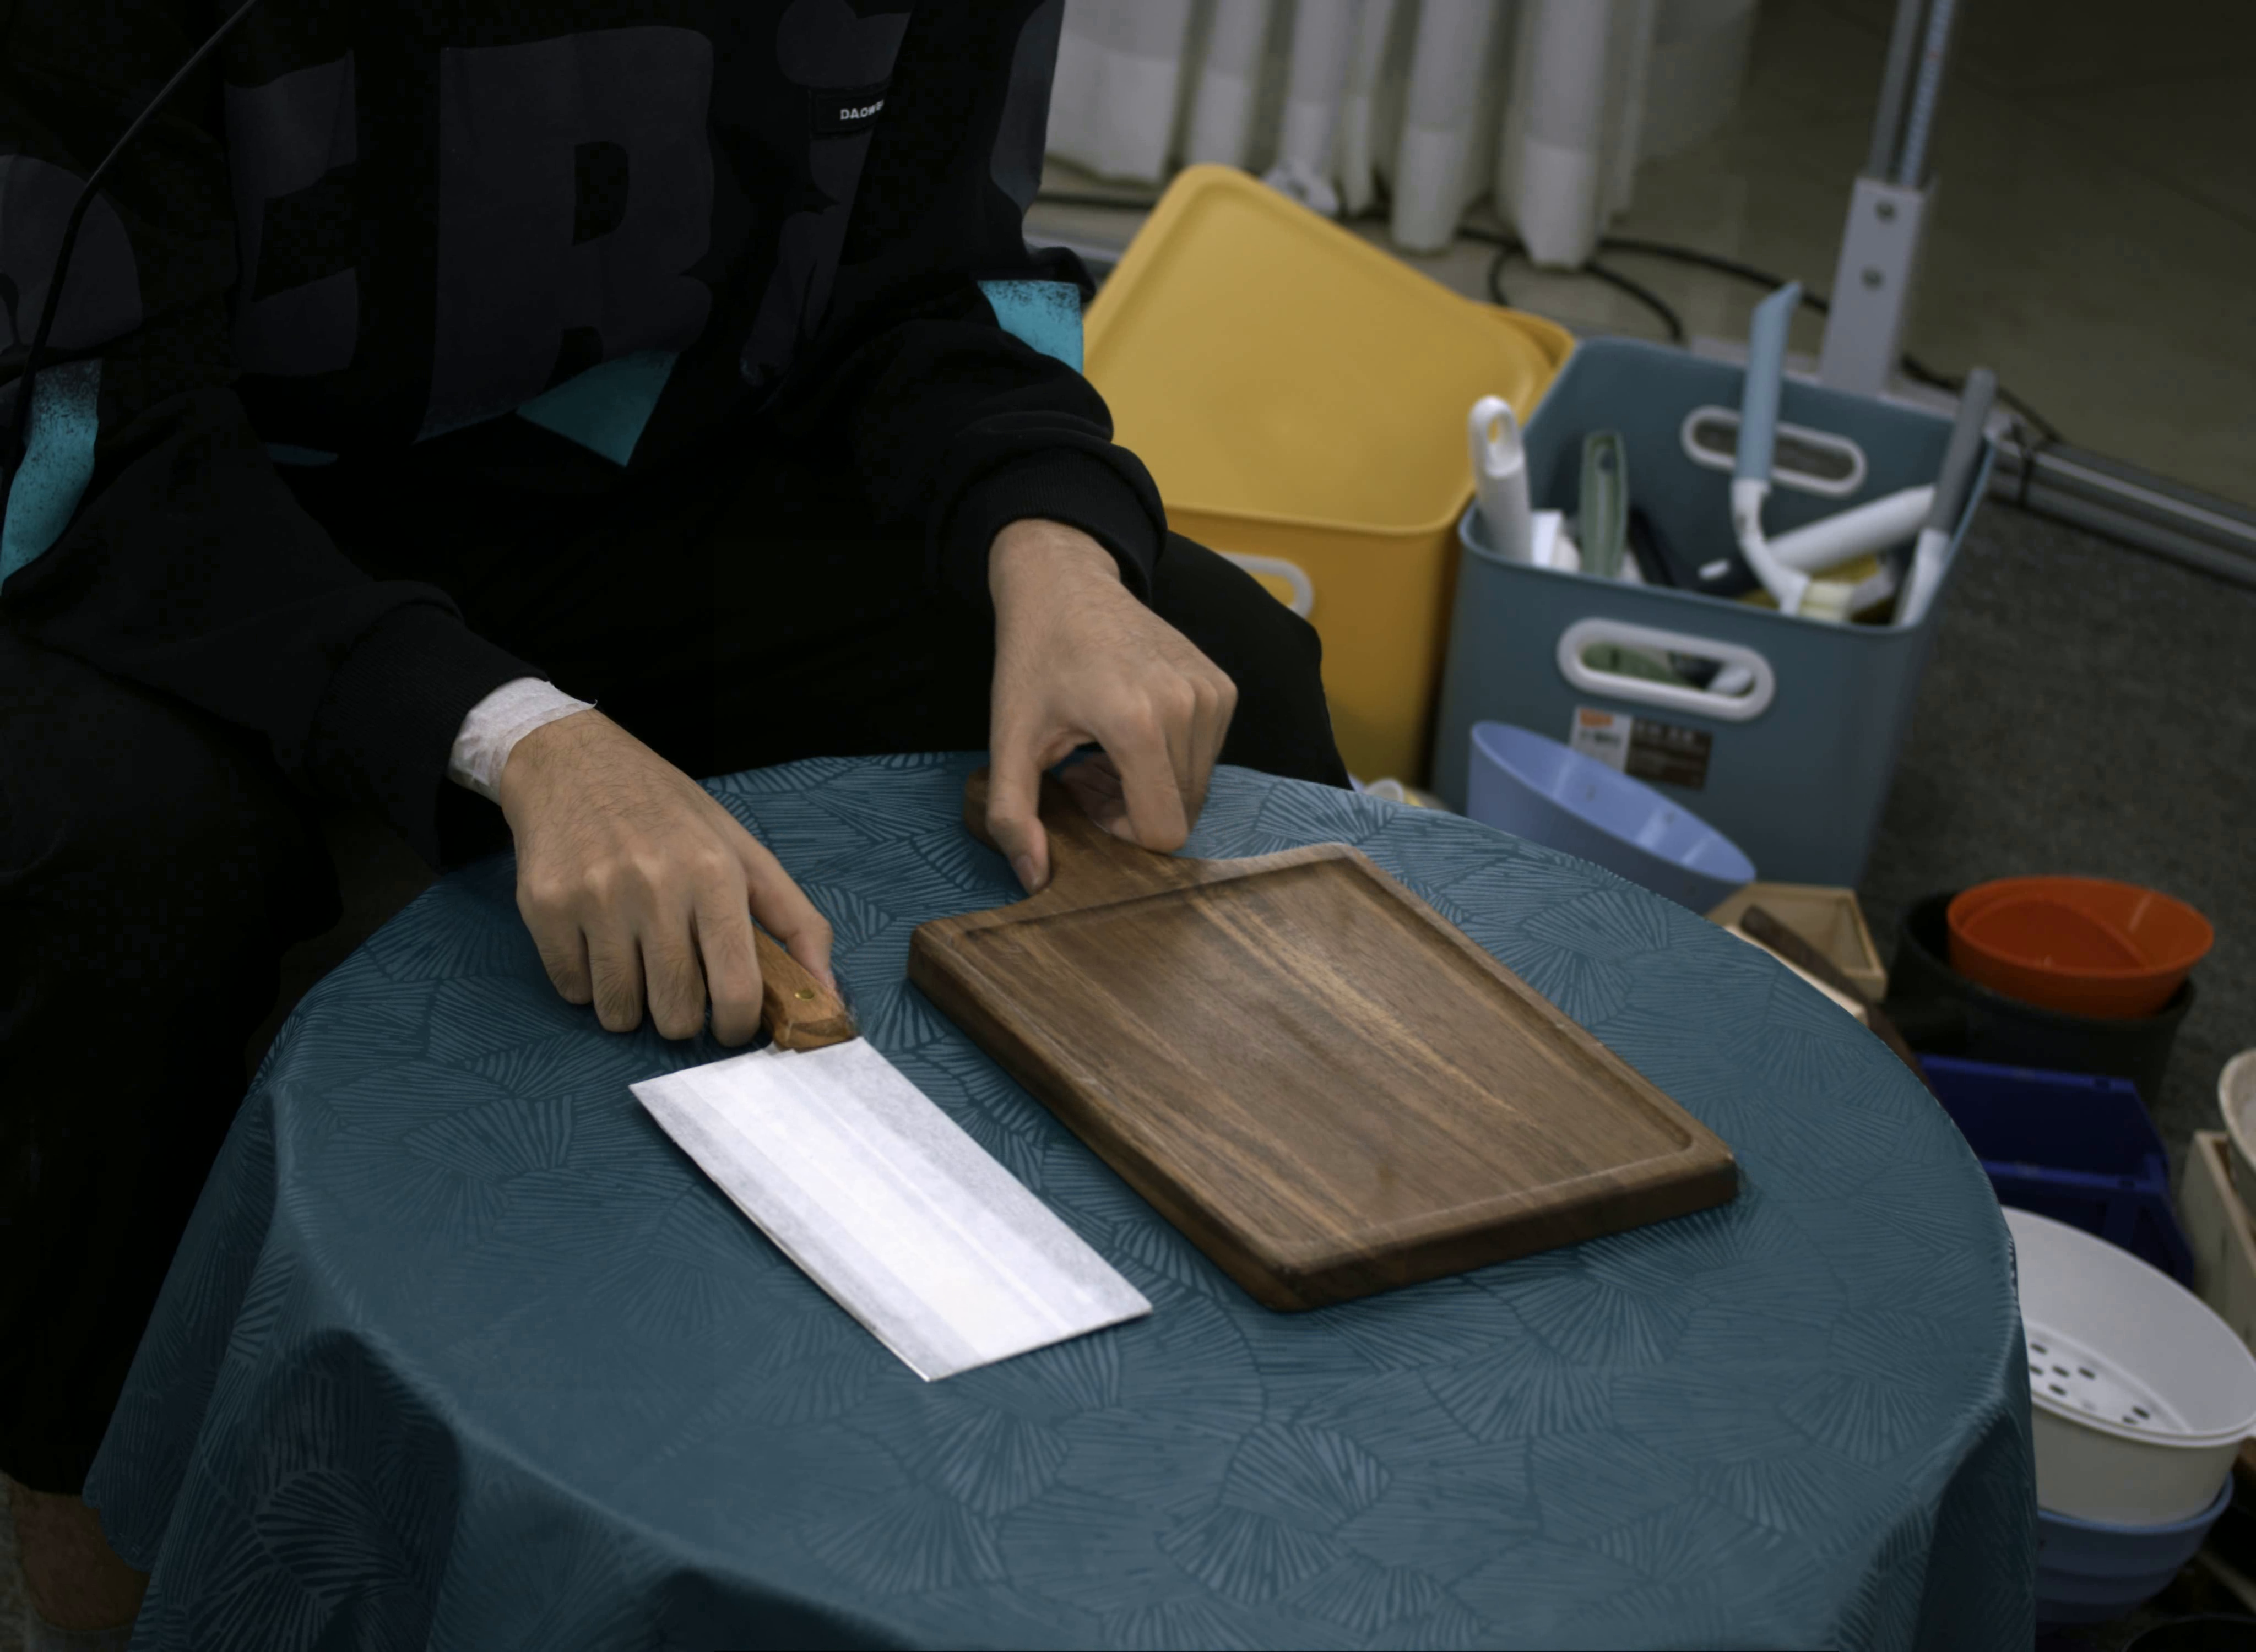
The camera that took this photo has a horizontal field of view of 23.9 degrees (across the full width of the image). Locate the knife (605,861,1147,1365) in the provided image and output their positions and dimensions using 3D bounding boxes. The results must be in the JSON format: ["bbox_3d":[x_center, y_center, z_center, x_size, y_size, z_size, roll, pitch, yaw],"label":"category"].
[{"bbox_3d":[-0.112,0.096,1.814,0.092,0.021,0.308,-15,36,-32],"label":"knife"}]

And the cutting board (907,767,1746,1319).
[{"bbox_3d":[0.041,0.063,1.909,0.200,0.023,0.355,-11,32,-31],"label":"cutting board"}]
